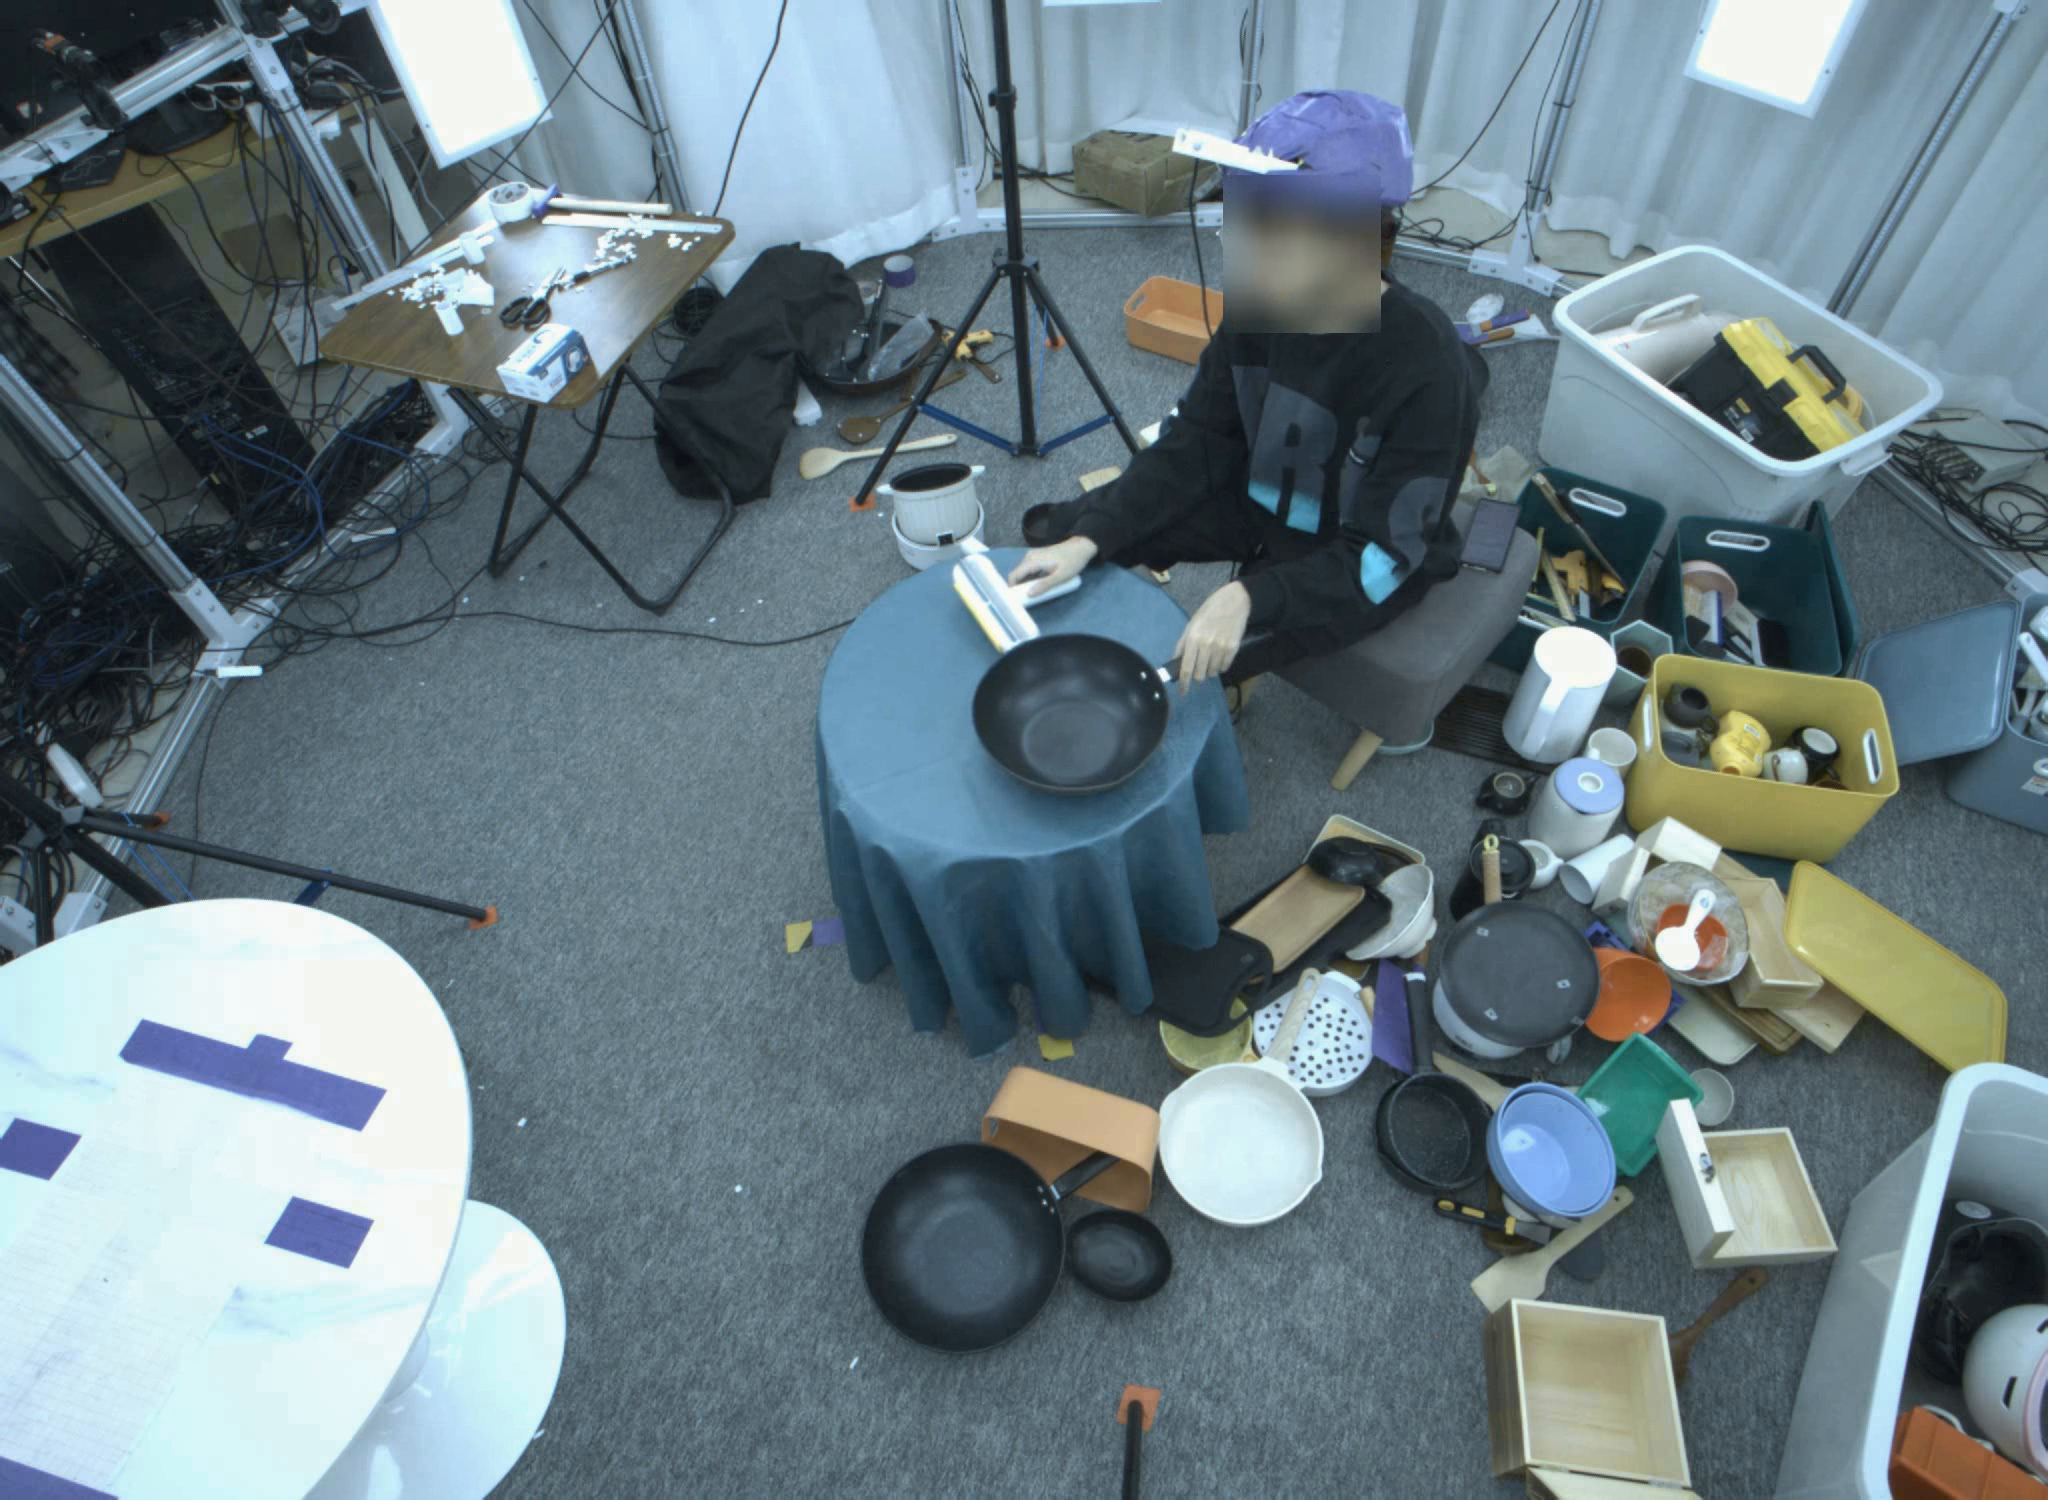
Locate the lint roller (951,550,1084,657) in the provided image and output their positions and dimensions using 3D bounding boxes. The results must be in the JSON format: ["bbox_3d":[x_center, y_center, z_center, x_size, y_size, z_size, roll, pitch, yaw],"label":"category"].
[{"bbox_3d":[0.005,-0.246,1.913,0.194,0.075,0.190,-25,63,-14],"label":"lint roller"}]

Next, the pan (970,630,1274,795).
[{"bbox_3d":[0.148,-0.072,1.777,0.467,0.088,0.283,-22,56,-13],"label":"pan"}]
